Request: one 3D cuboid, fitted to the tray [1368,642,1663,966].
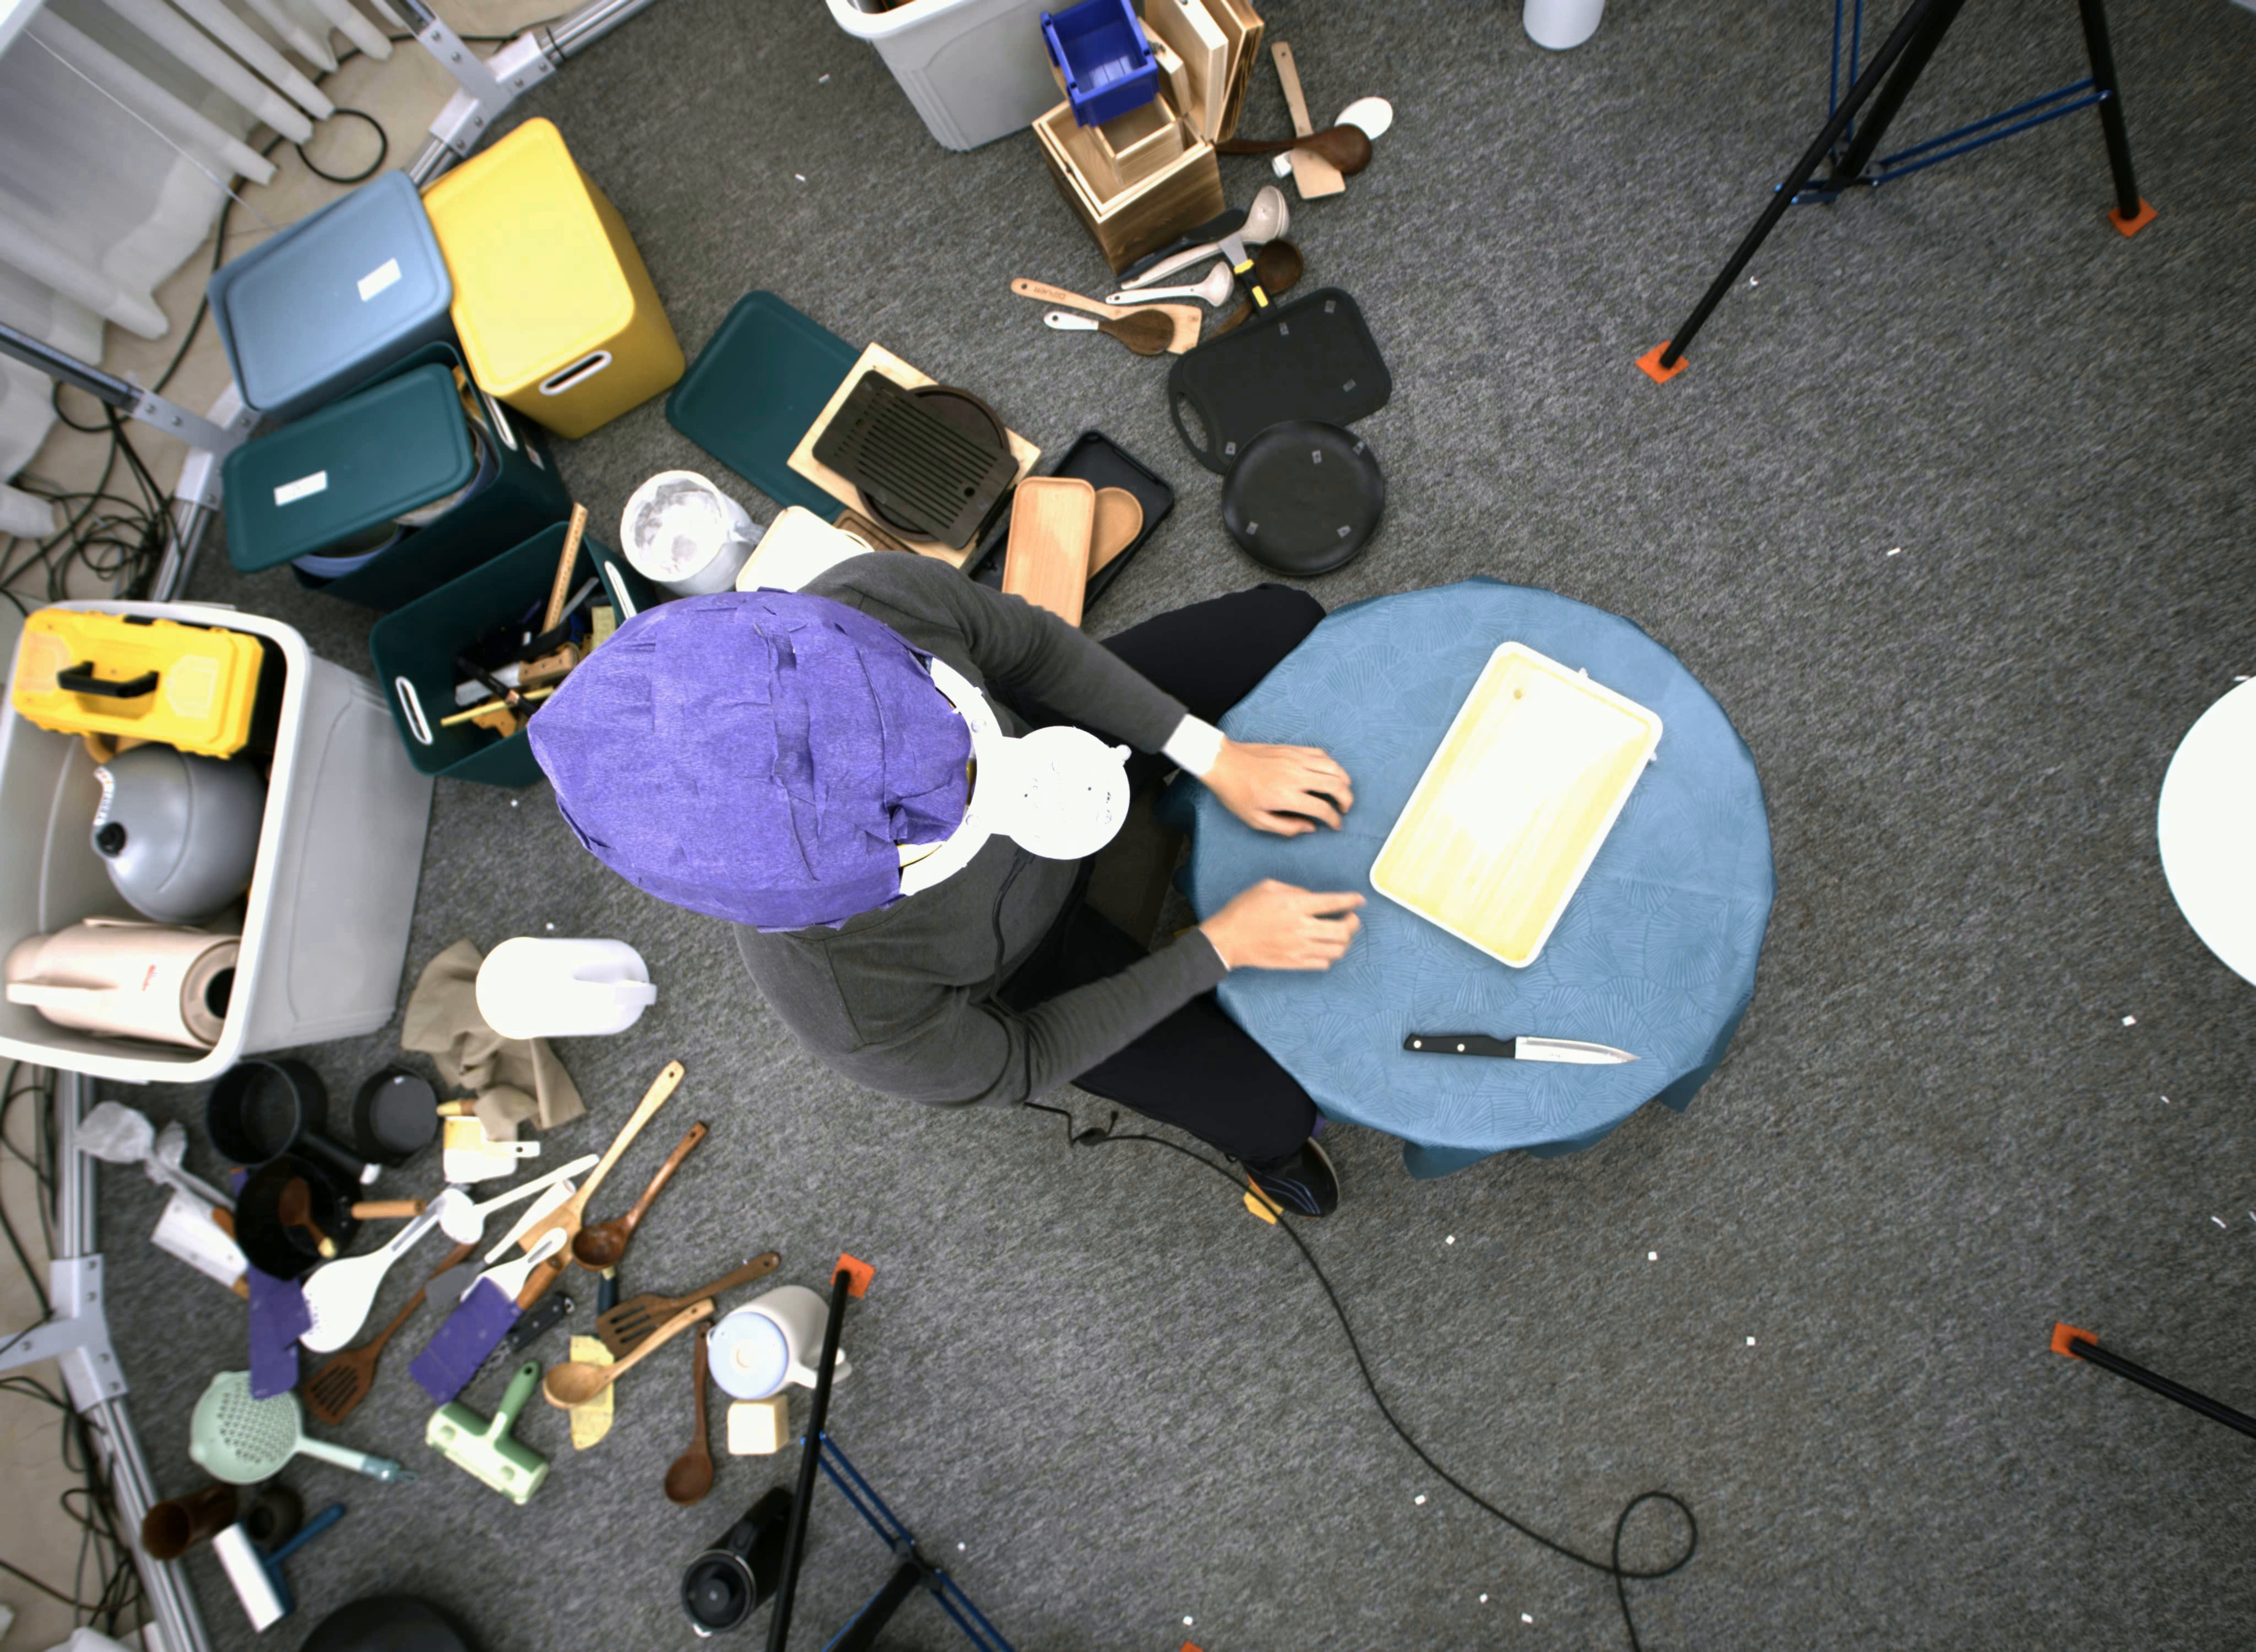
[{"bbox_3d":[0.400,-0.026,1.428,0.191,0.027,0.301,30,93,12],"label":"tray"}]

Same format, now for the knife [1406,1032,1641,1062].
[{"bbox_3d":[0.407,0.227,1.420,0.239,0.016,0.024,2,88,8],"label":"knife"}]
